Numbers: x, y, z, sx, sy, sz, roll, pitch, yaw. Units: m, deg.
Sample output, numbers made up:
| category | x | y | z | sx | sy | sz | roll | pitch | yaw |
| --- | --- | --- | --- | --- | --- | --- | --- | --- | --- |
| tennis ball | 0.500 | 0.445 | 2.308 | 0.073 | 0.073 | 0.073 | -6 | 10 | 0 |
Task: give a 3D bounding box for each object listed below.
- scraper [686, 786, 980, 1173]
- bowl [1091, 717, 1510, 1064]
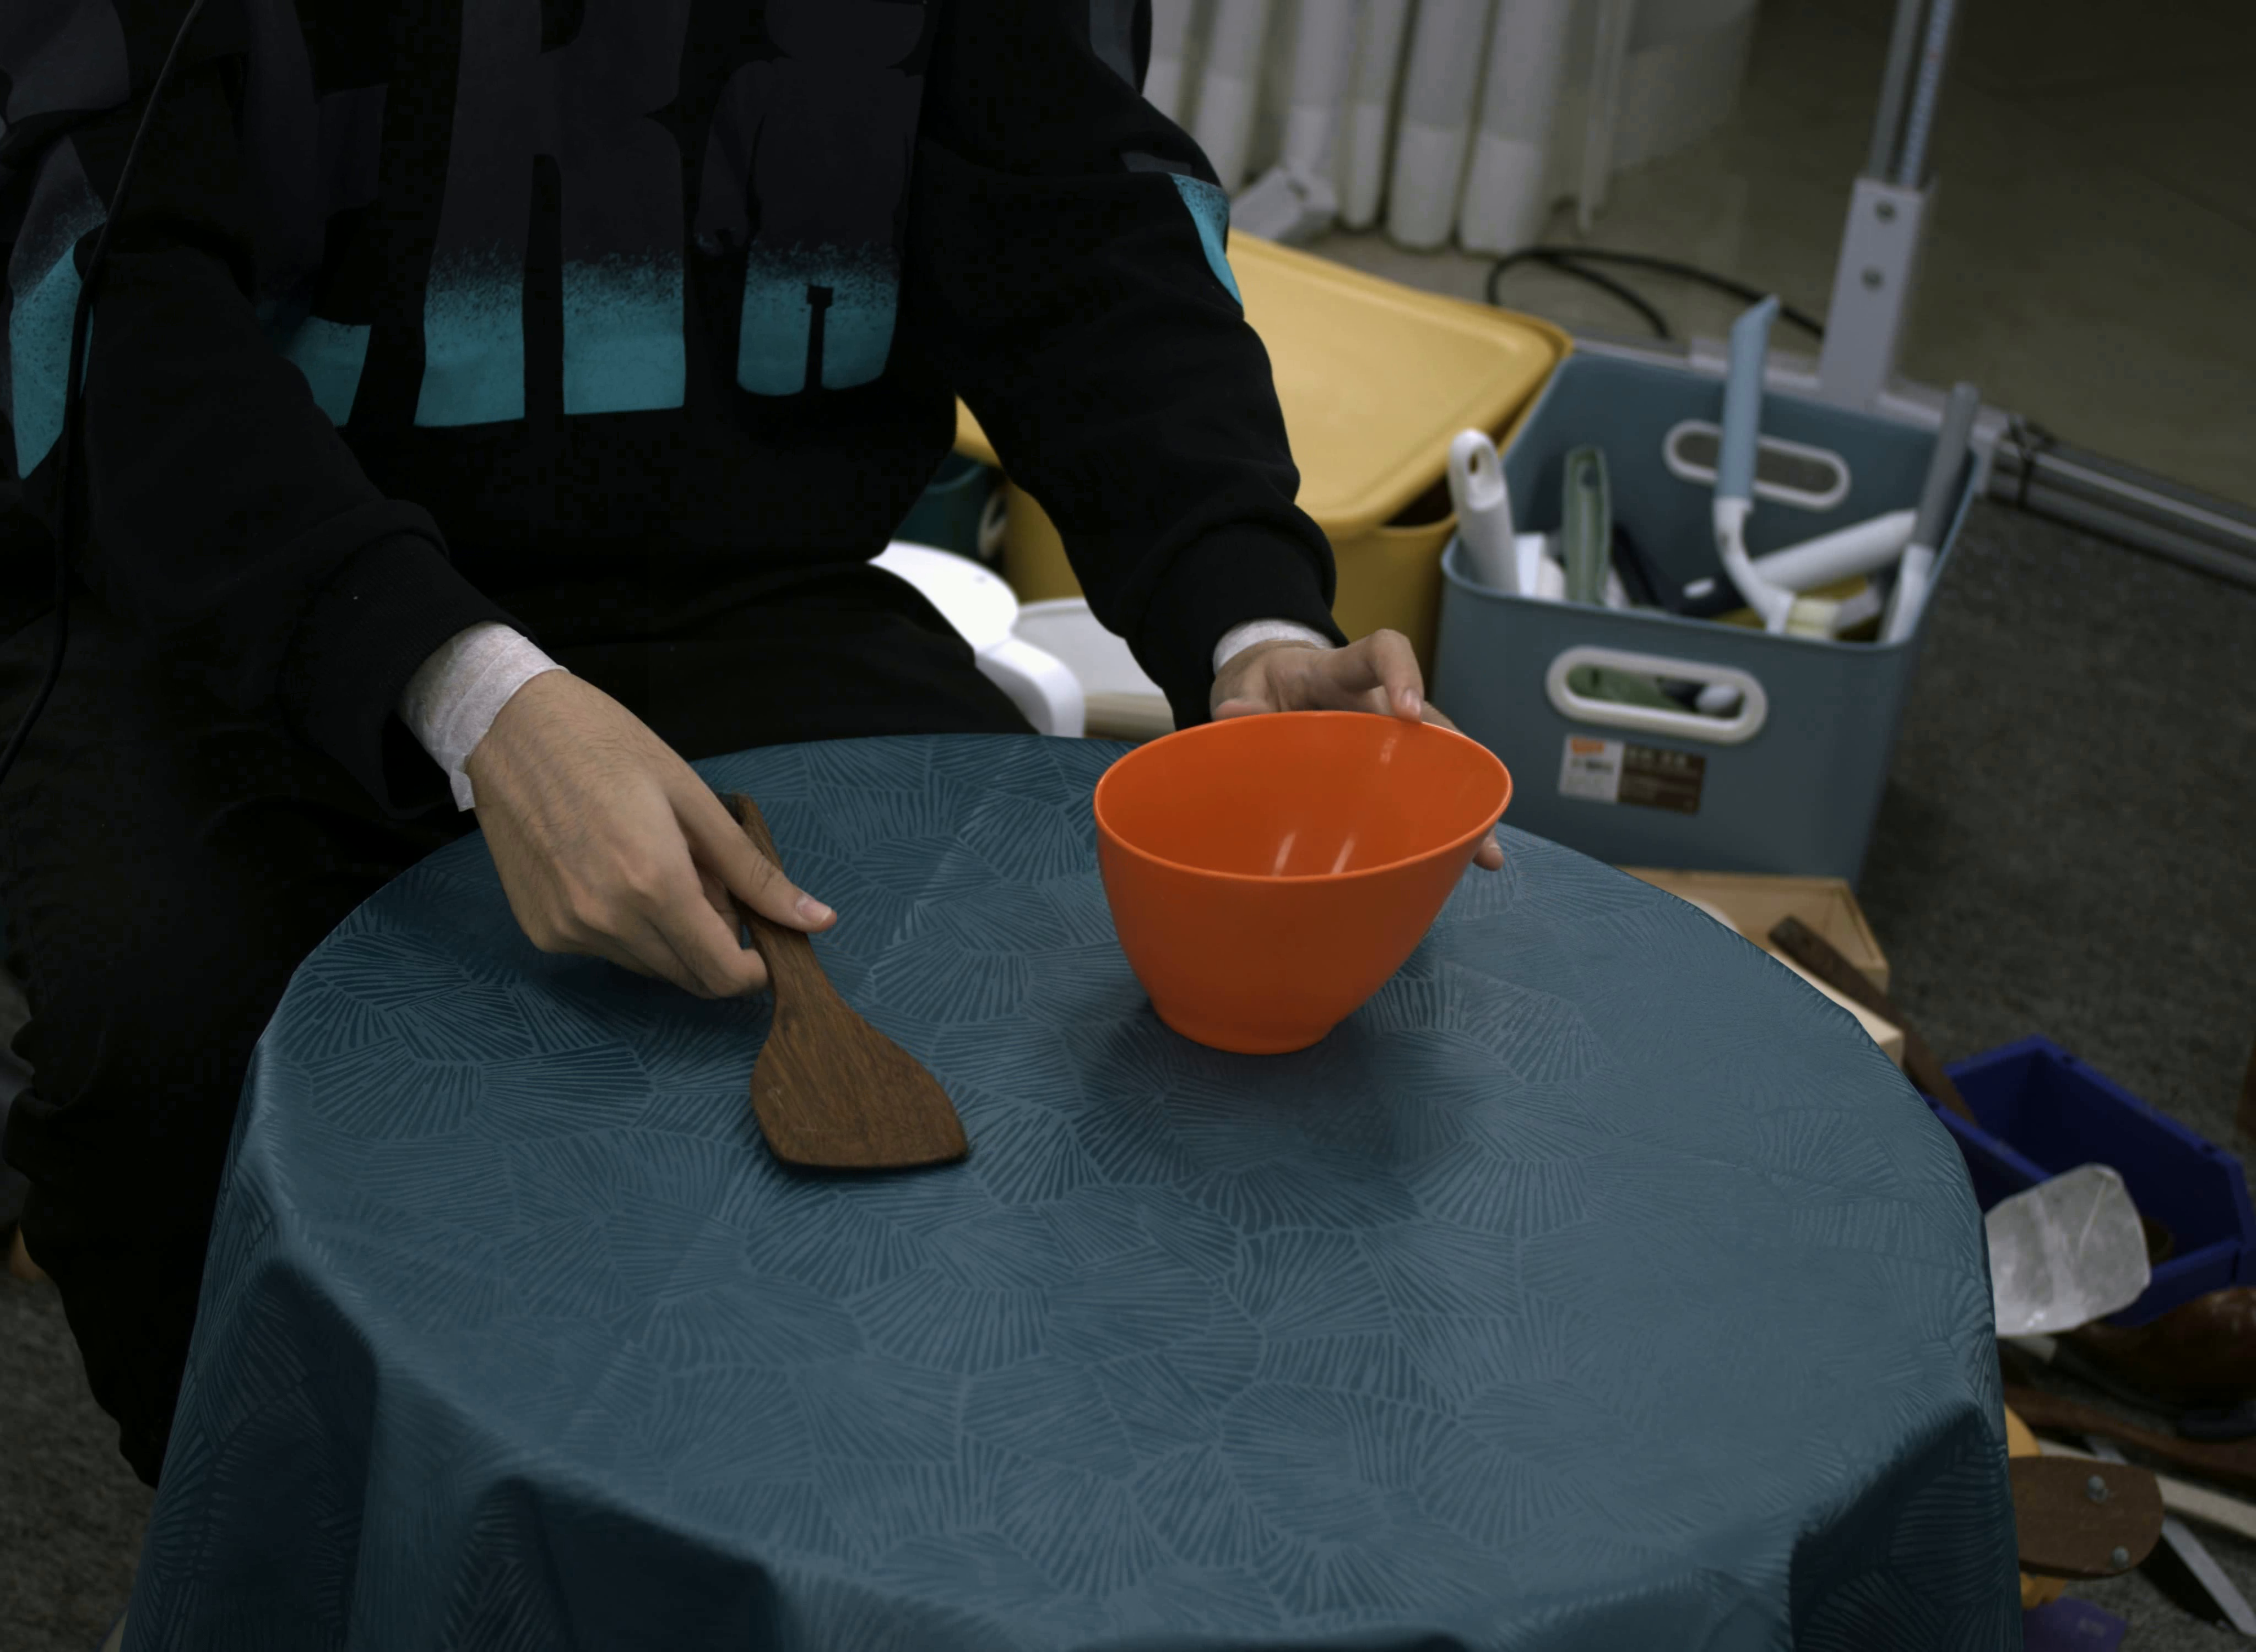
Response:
| category | x | y | z | sx | sy | sz | roll | pitch | yaw |
| --- | --- | --- | --- | --- | --- | --- | --- | --- | --- |
| scraper | -0.116 | 0.053 | 1.867 | 0.075 | 0.011 | 0.213 | -2 | 39 | -23 |
| bowl | 0.057 | 0.027 | 1.896 | 0.147 | 0.104 | 0.149 | 4 | 26 | -2 |
